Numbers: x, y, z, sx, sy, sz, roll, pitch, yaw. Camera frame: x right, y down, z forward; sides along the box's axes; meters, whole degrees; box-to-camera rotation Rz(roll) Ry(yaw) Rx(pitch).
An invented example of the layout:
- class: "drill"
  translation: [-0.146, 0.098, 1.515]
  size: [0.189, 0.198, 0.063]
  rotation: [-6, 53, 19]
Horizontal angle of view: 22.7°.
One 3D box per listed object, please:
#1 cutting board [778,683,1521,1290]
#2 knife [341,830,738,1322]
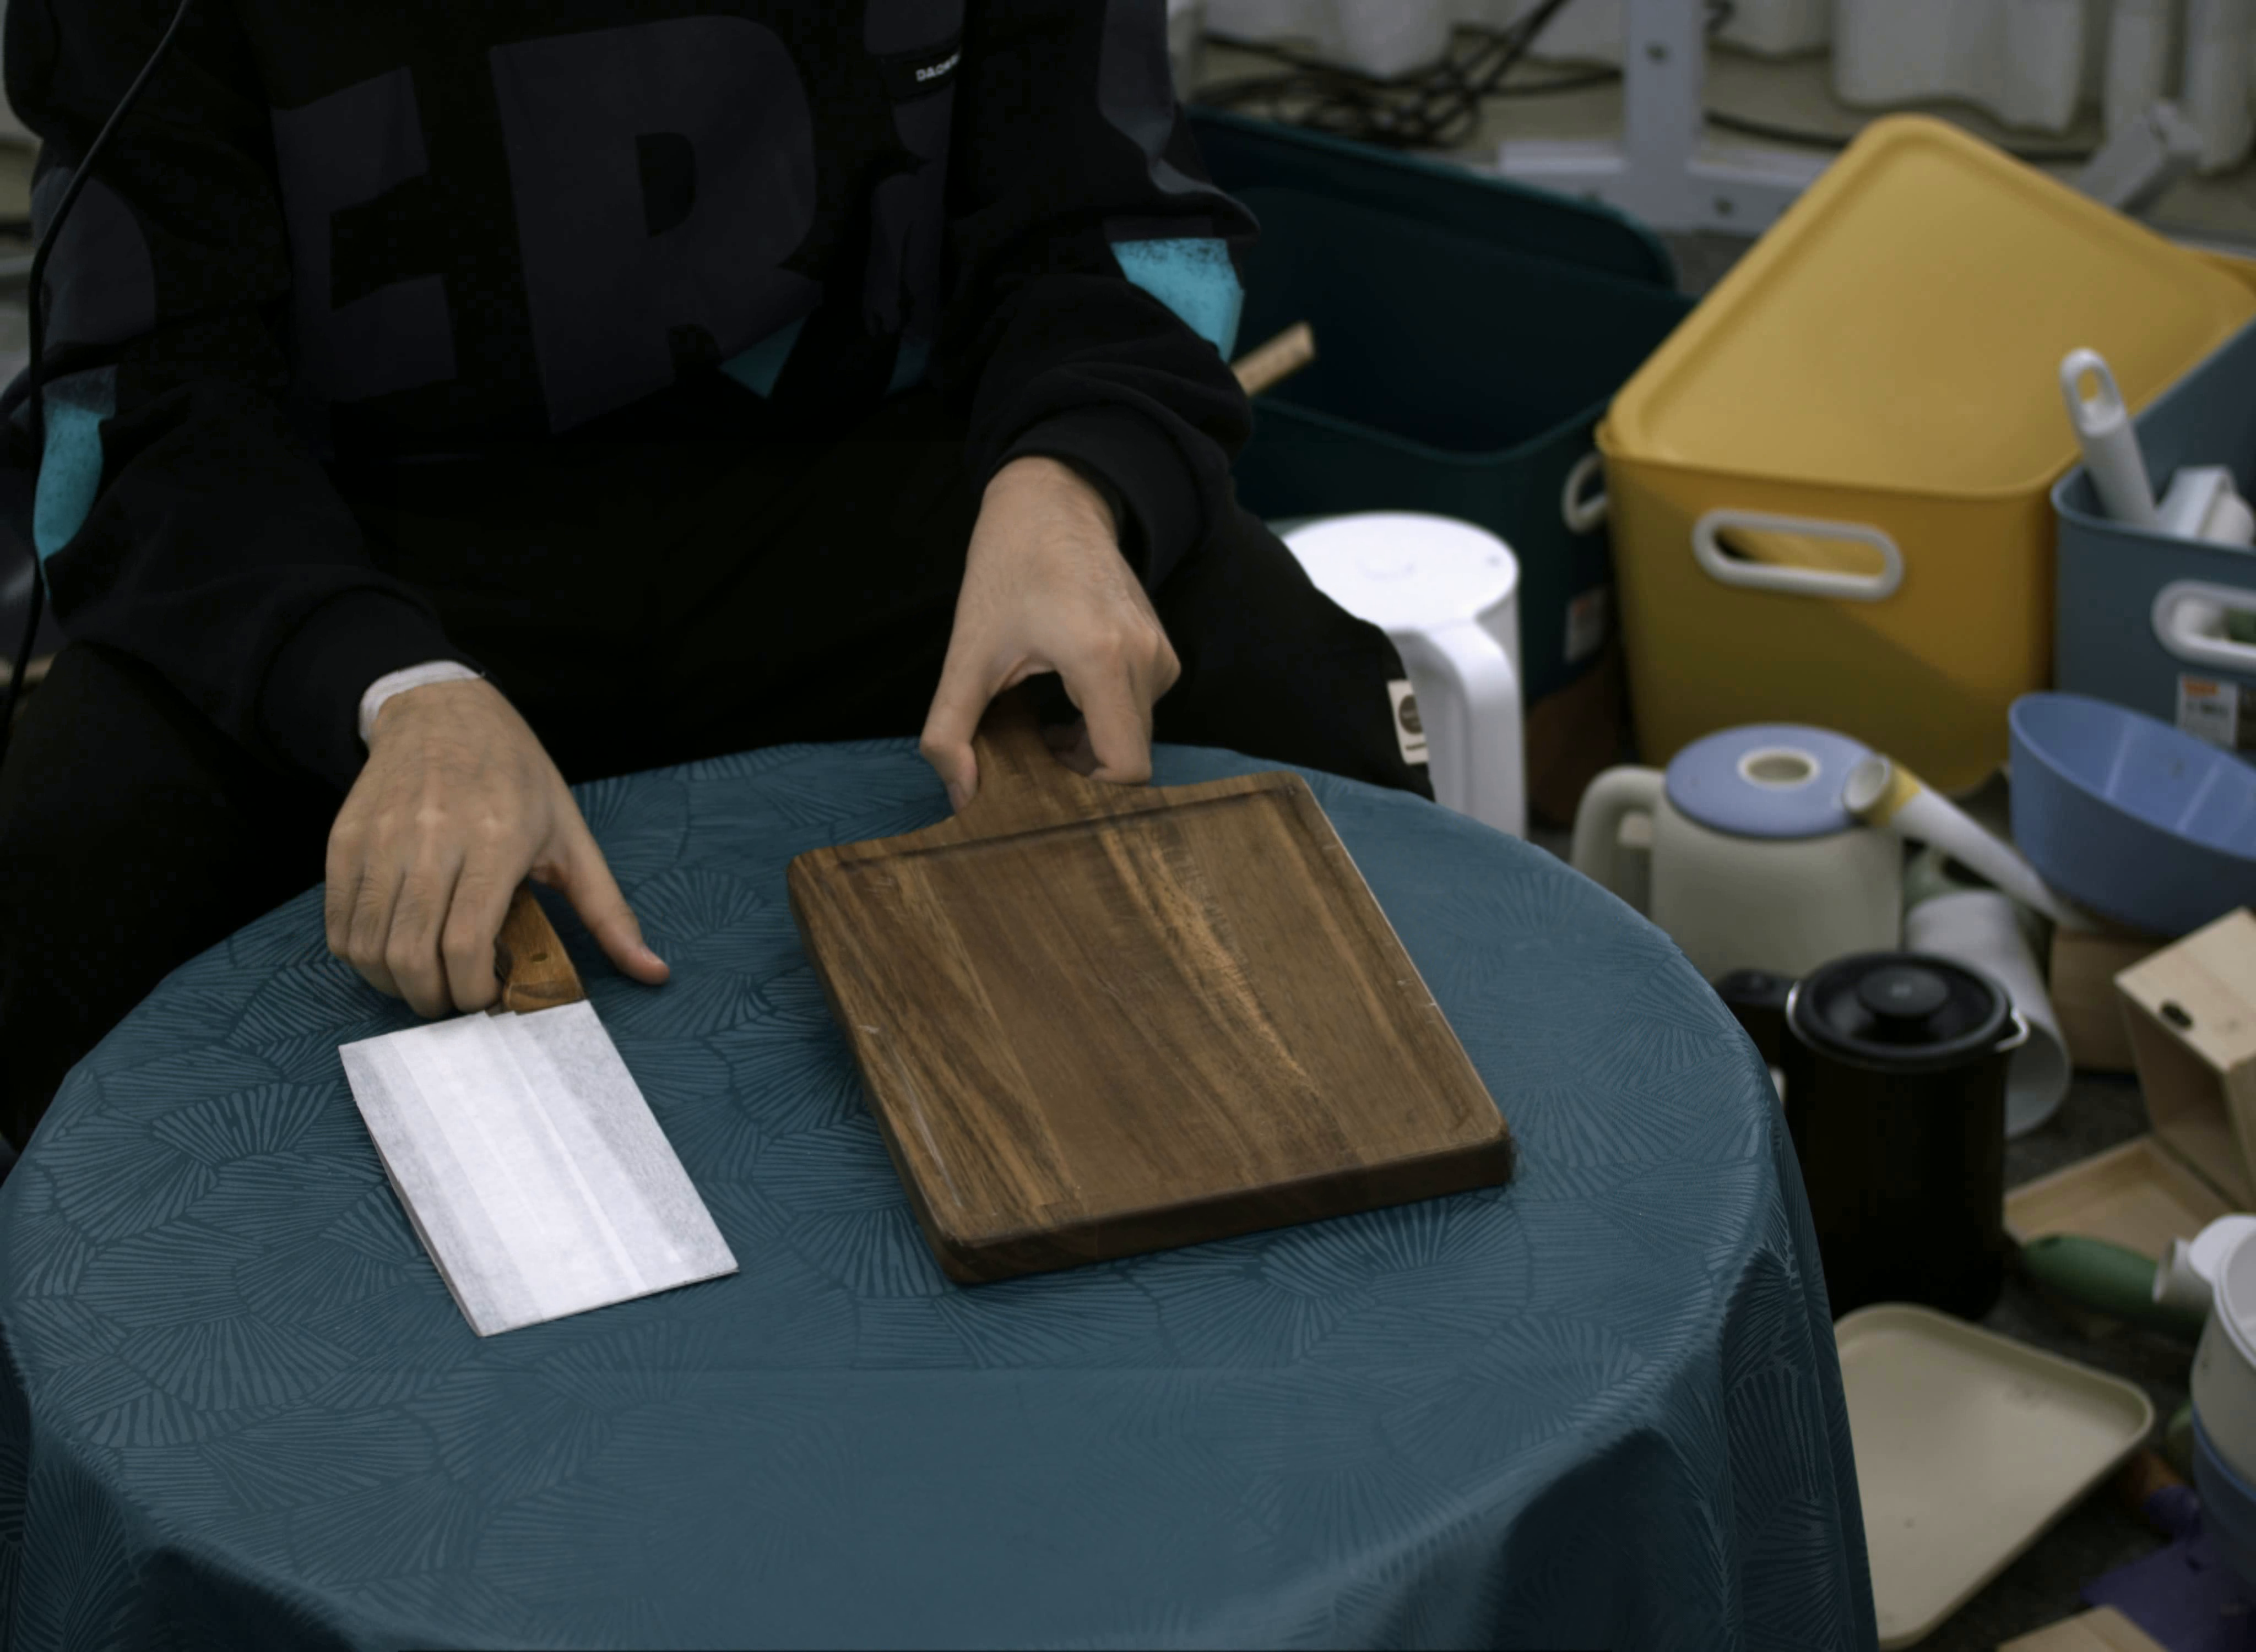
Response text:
- class: "cutting board"
  translation: [-0.011, 0.041, 1.974]
  size: [0.201, 0.023, 0.356]
  rotation: [-10, 32, -13]
- class: "knife"
  translation: [-0.219, 0.085, 1.938]
  size: [0.093, 0.021, 0.308]
  rotation: [-14, 31, -16]
